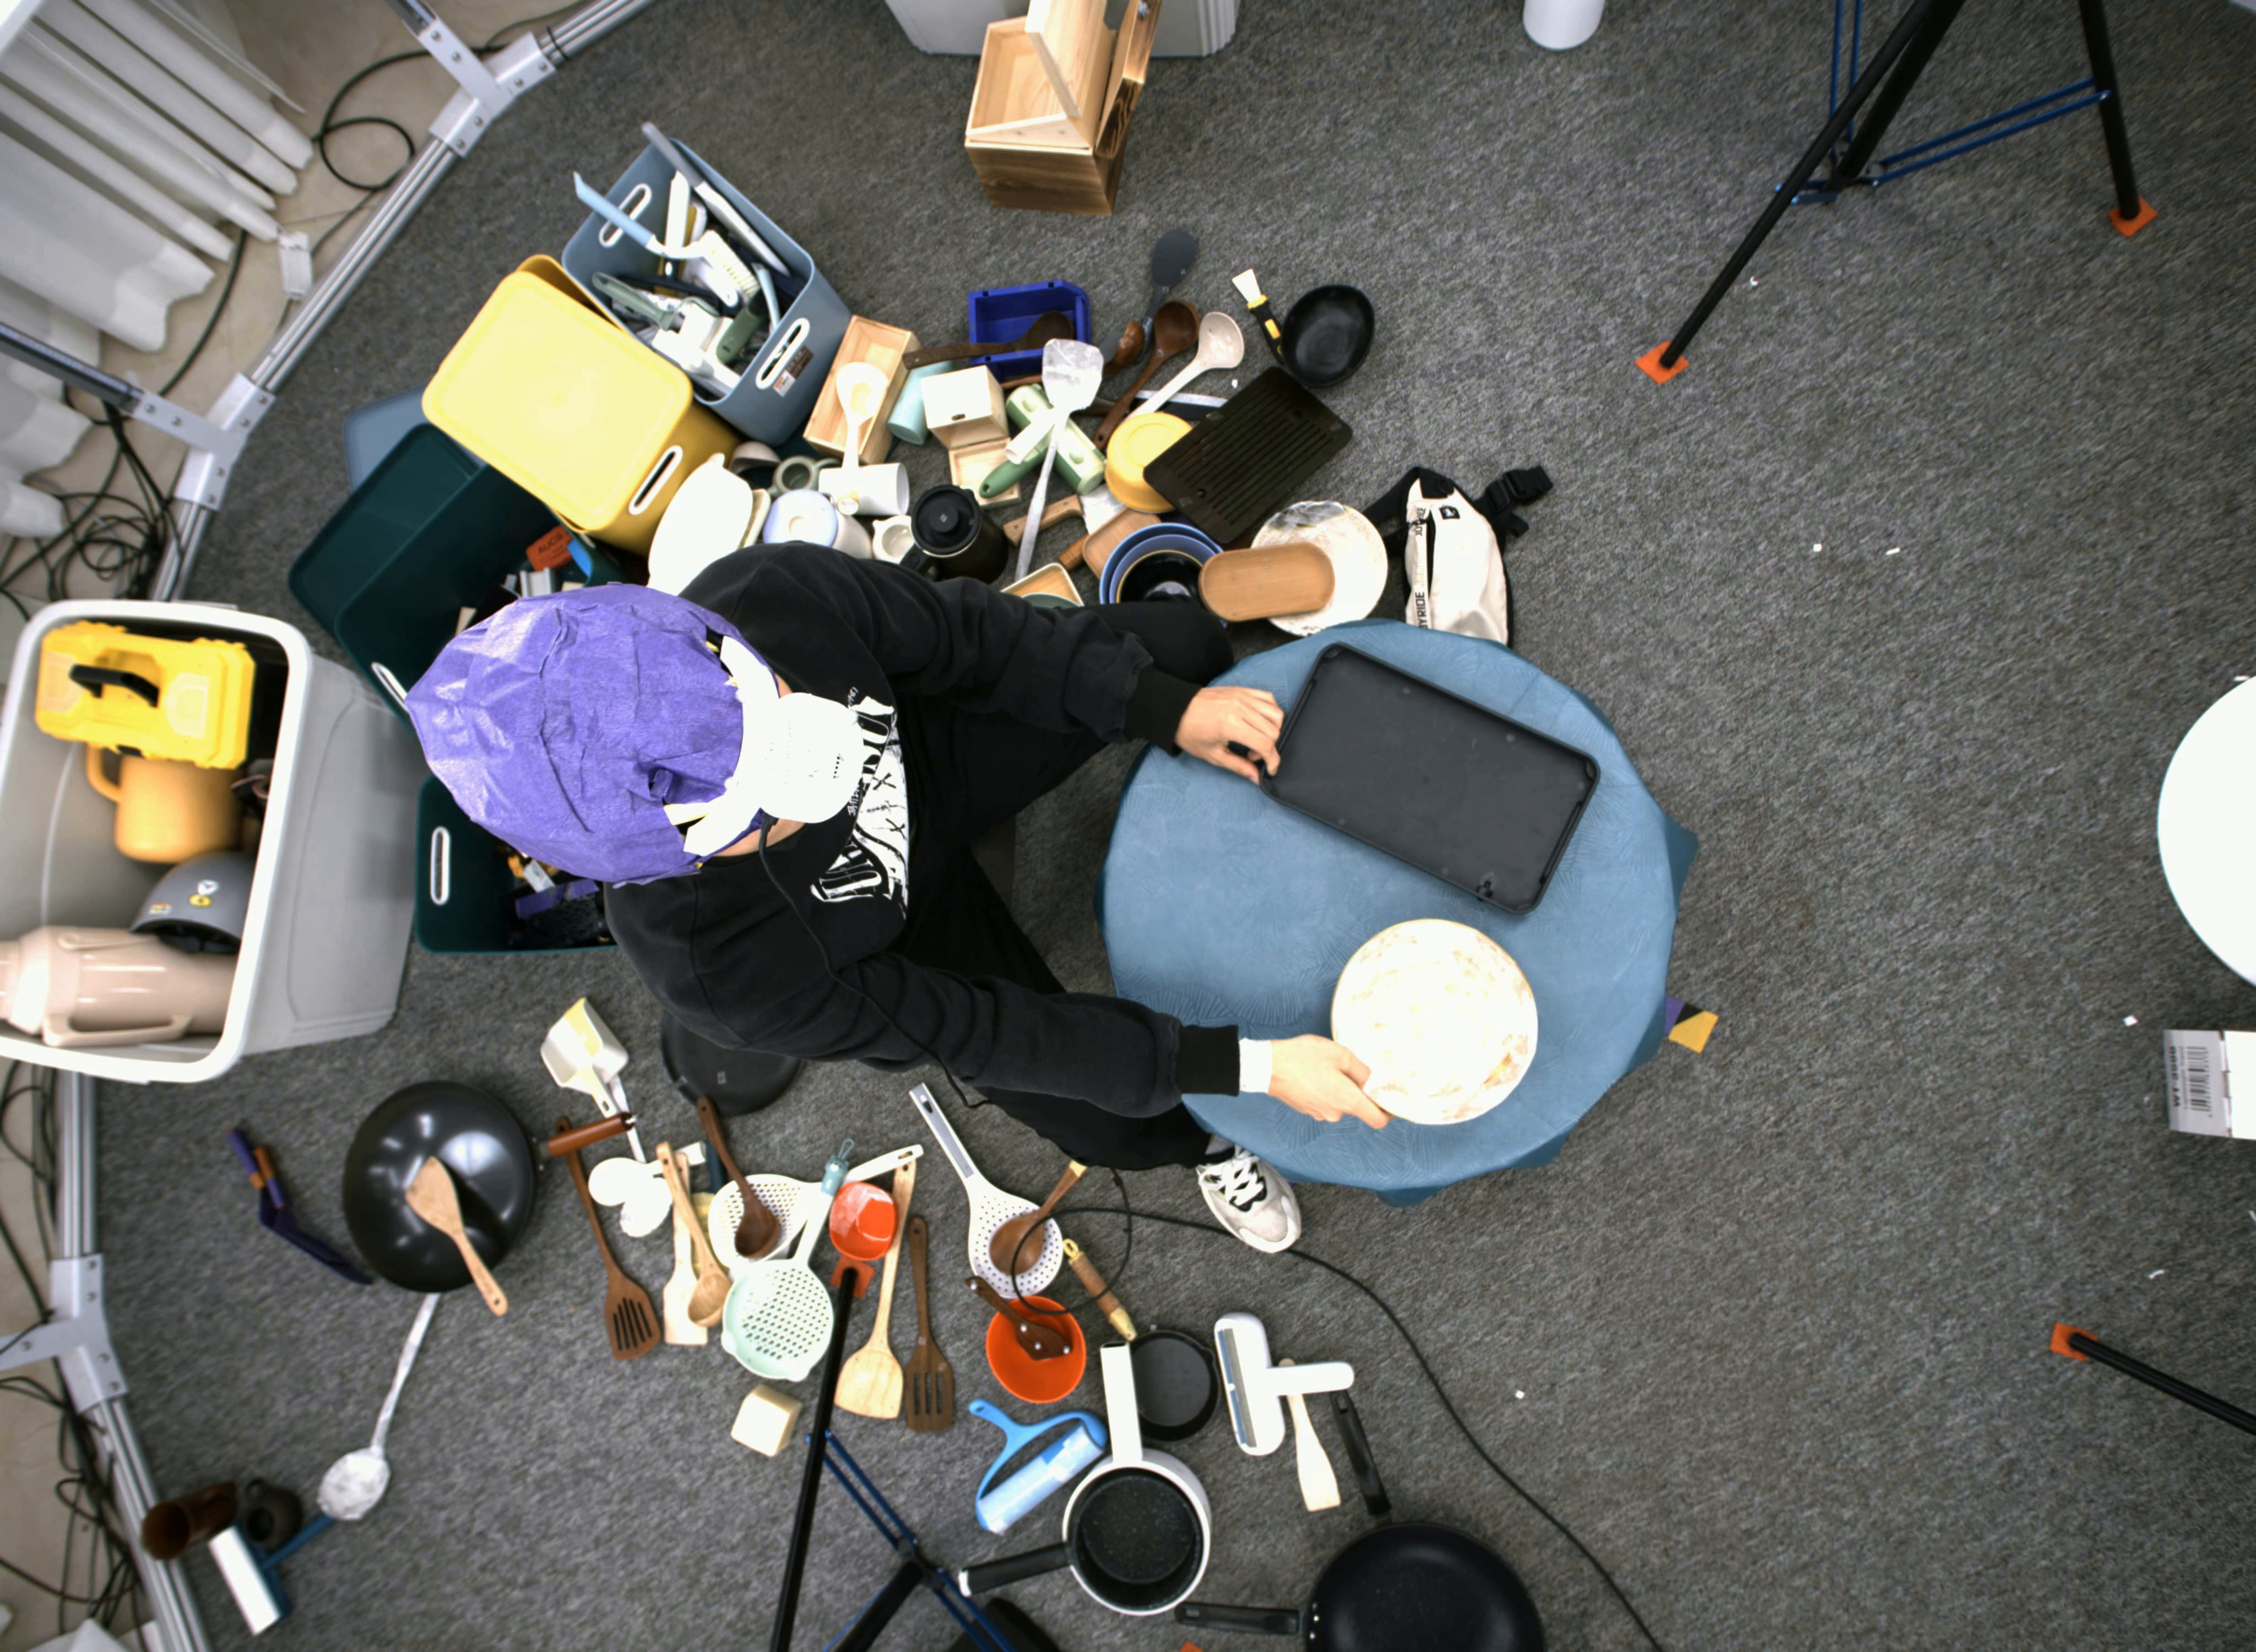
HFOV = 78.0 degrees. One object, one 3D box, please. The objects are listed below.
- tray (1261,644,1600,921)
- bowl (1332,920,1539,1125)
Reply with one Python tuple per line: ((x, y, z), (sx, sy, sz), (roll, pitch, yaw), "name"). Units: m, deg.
((0.315, -0.048, 1.449), (0.317, 0.037, 0.184), (28, 90, 9), "tray")
((0.306, 0.193, 1.401), (0.215, 0.095, 0.213), (-1, 86, 8), "bowl")
